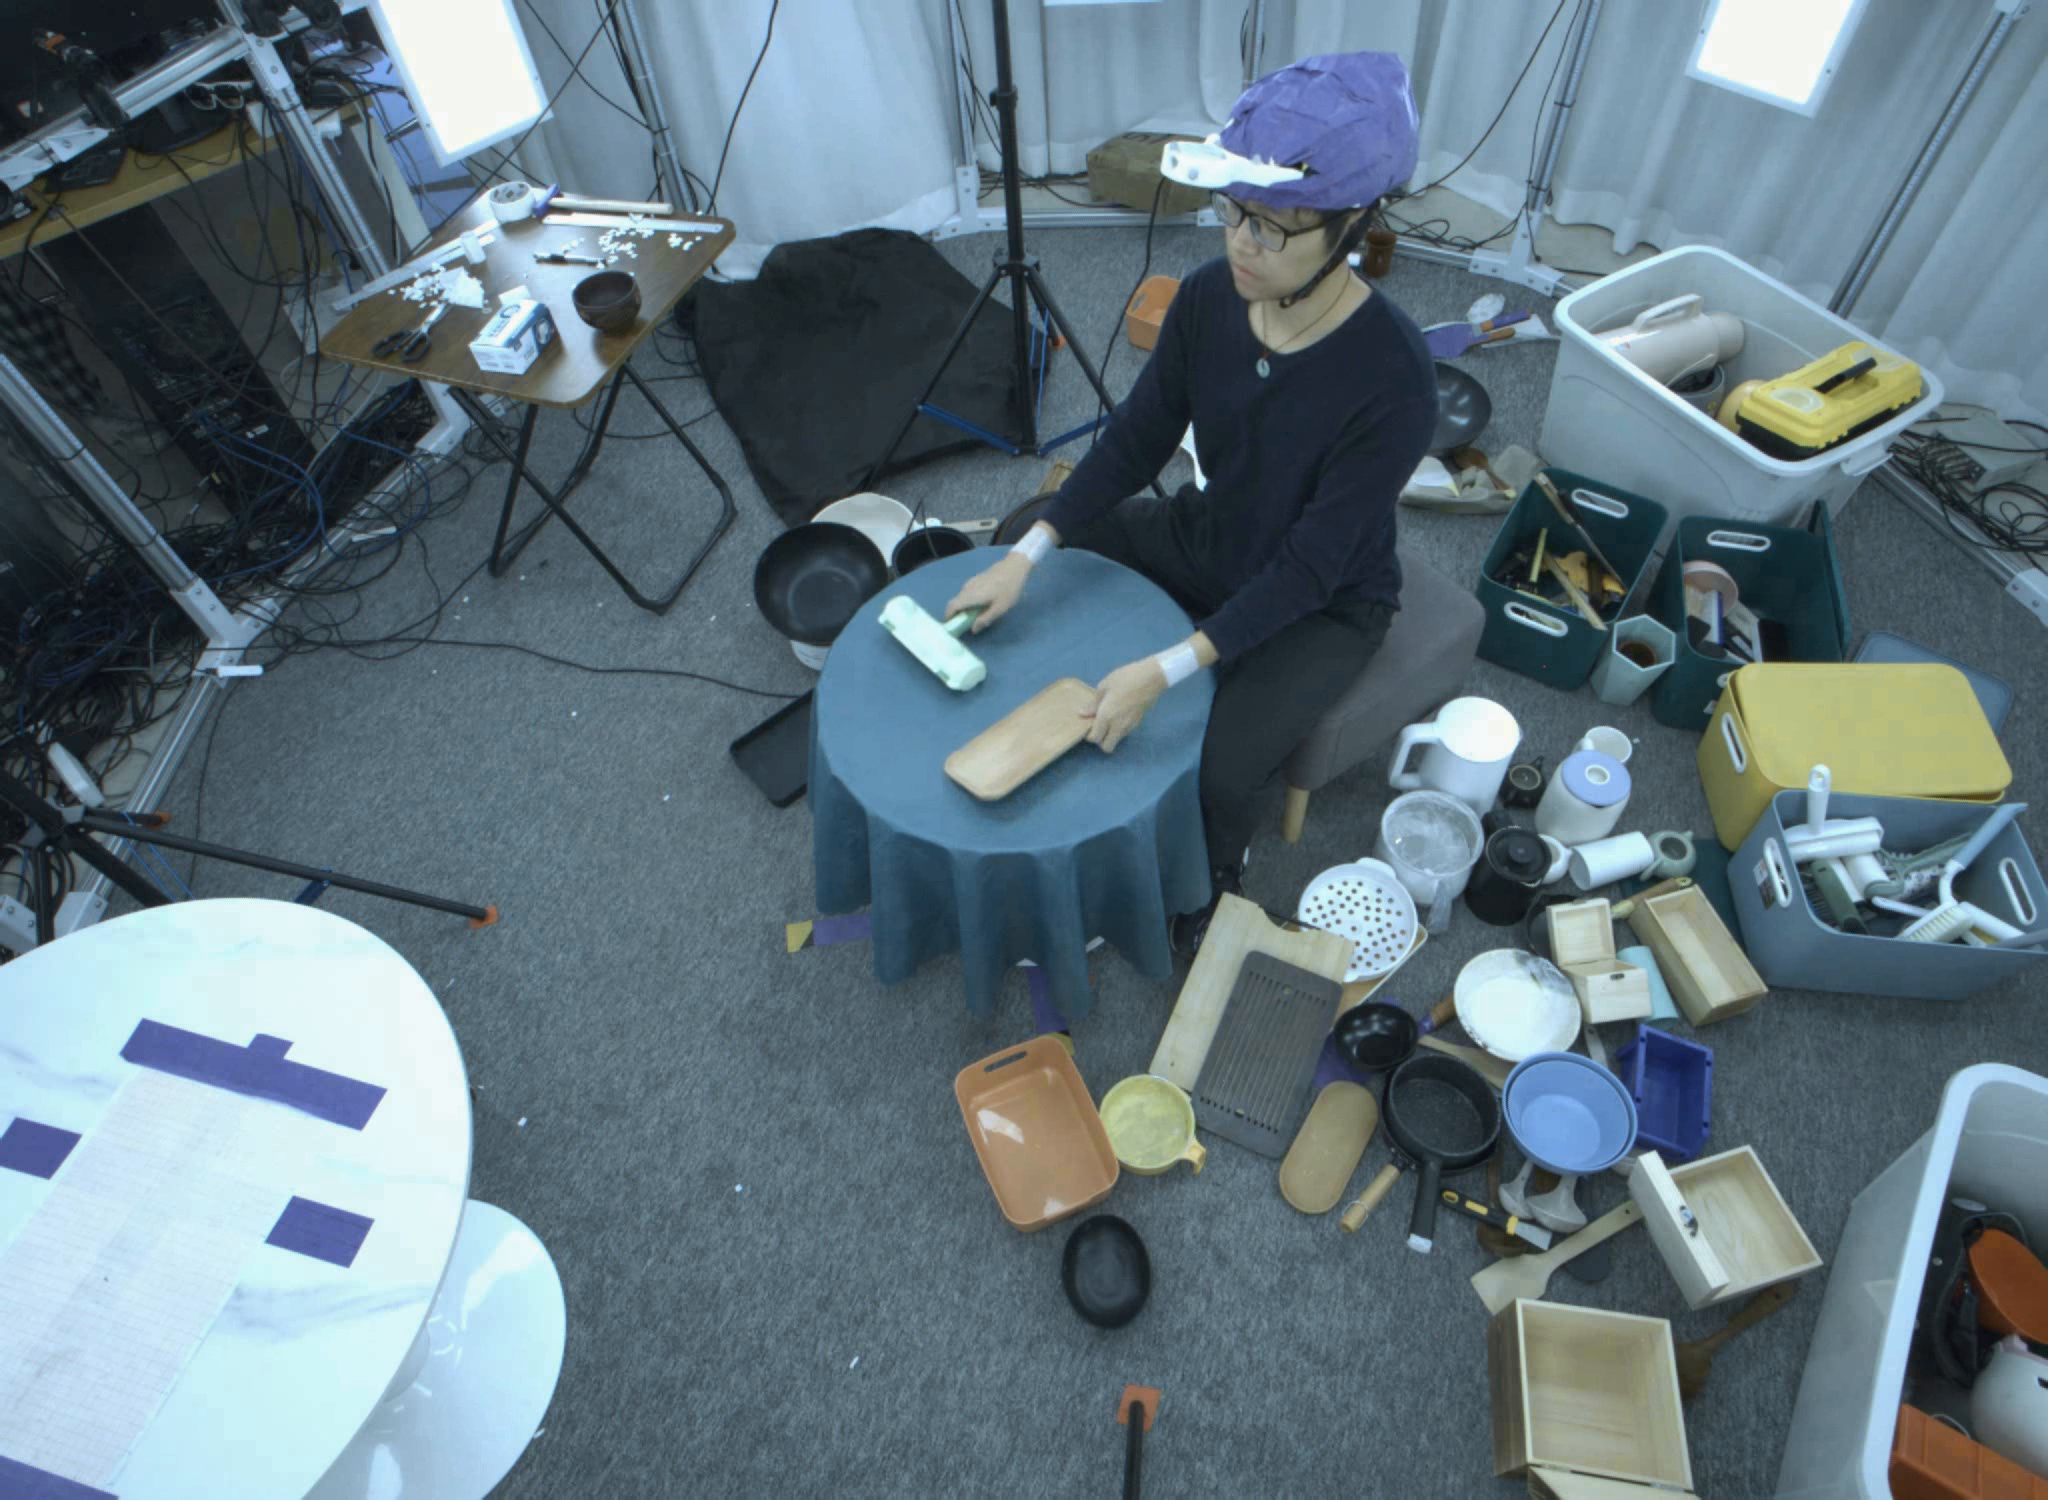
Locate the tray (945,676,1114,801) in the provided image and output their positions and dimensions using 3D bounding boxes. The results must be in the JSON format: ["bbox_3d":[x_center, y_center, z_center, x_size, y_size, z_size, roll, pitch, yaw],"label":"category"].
[{"bbox_3d":[0.009,-0.019,1.771,0.252,0.023,0.127,-36,47,-21],"label":"tray"}]

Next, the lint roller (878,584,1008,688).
[{"bbox_3d":[-0.101,-0.207,1.874,0.184,0.083,0.195,-43,63,-9],"label":"lint roller"}]
